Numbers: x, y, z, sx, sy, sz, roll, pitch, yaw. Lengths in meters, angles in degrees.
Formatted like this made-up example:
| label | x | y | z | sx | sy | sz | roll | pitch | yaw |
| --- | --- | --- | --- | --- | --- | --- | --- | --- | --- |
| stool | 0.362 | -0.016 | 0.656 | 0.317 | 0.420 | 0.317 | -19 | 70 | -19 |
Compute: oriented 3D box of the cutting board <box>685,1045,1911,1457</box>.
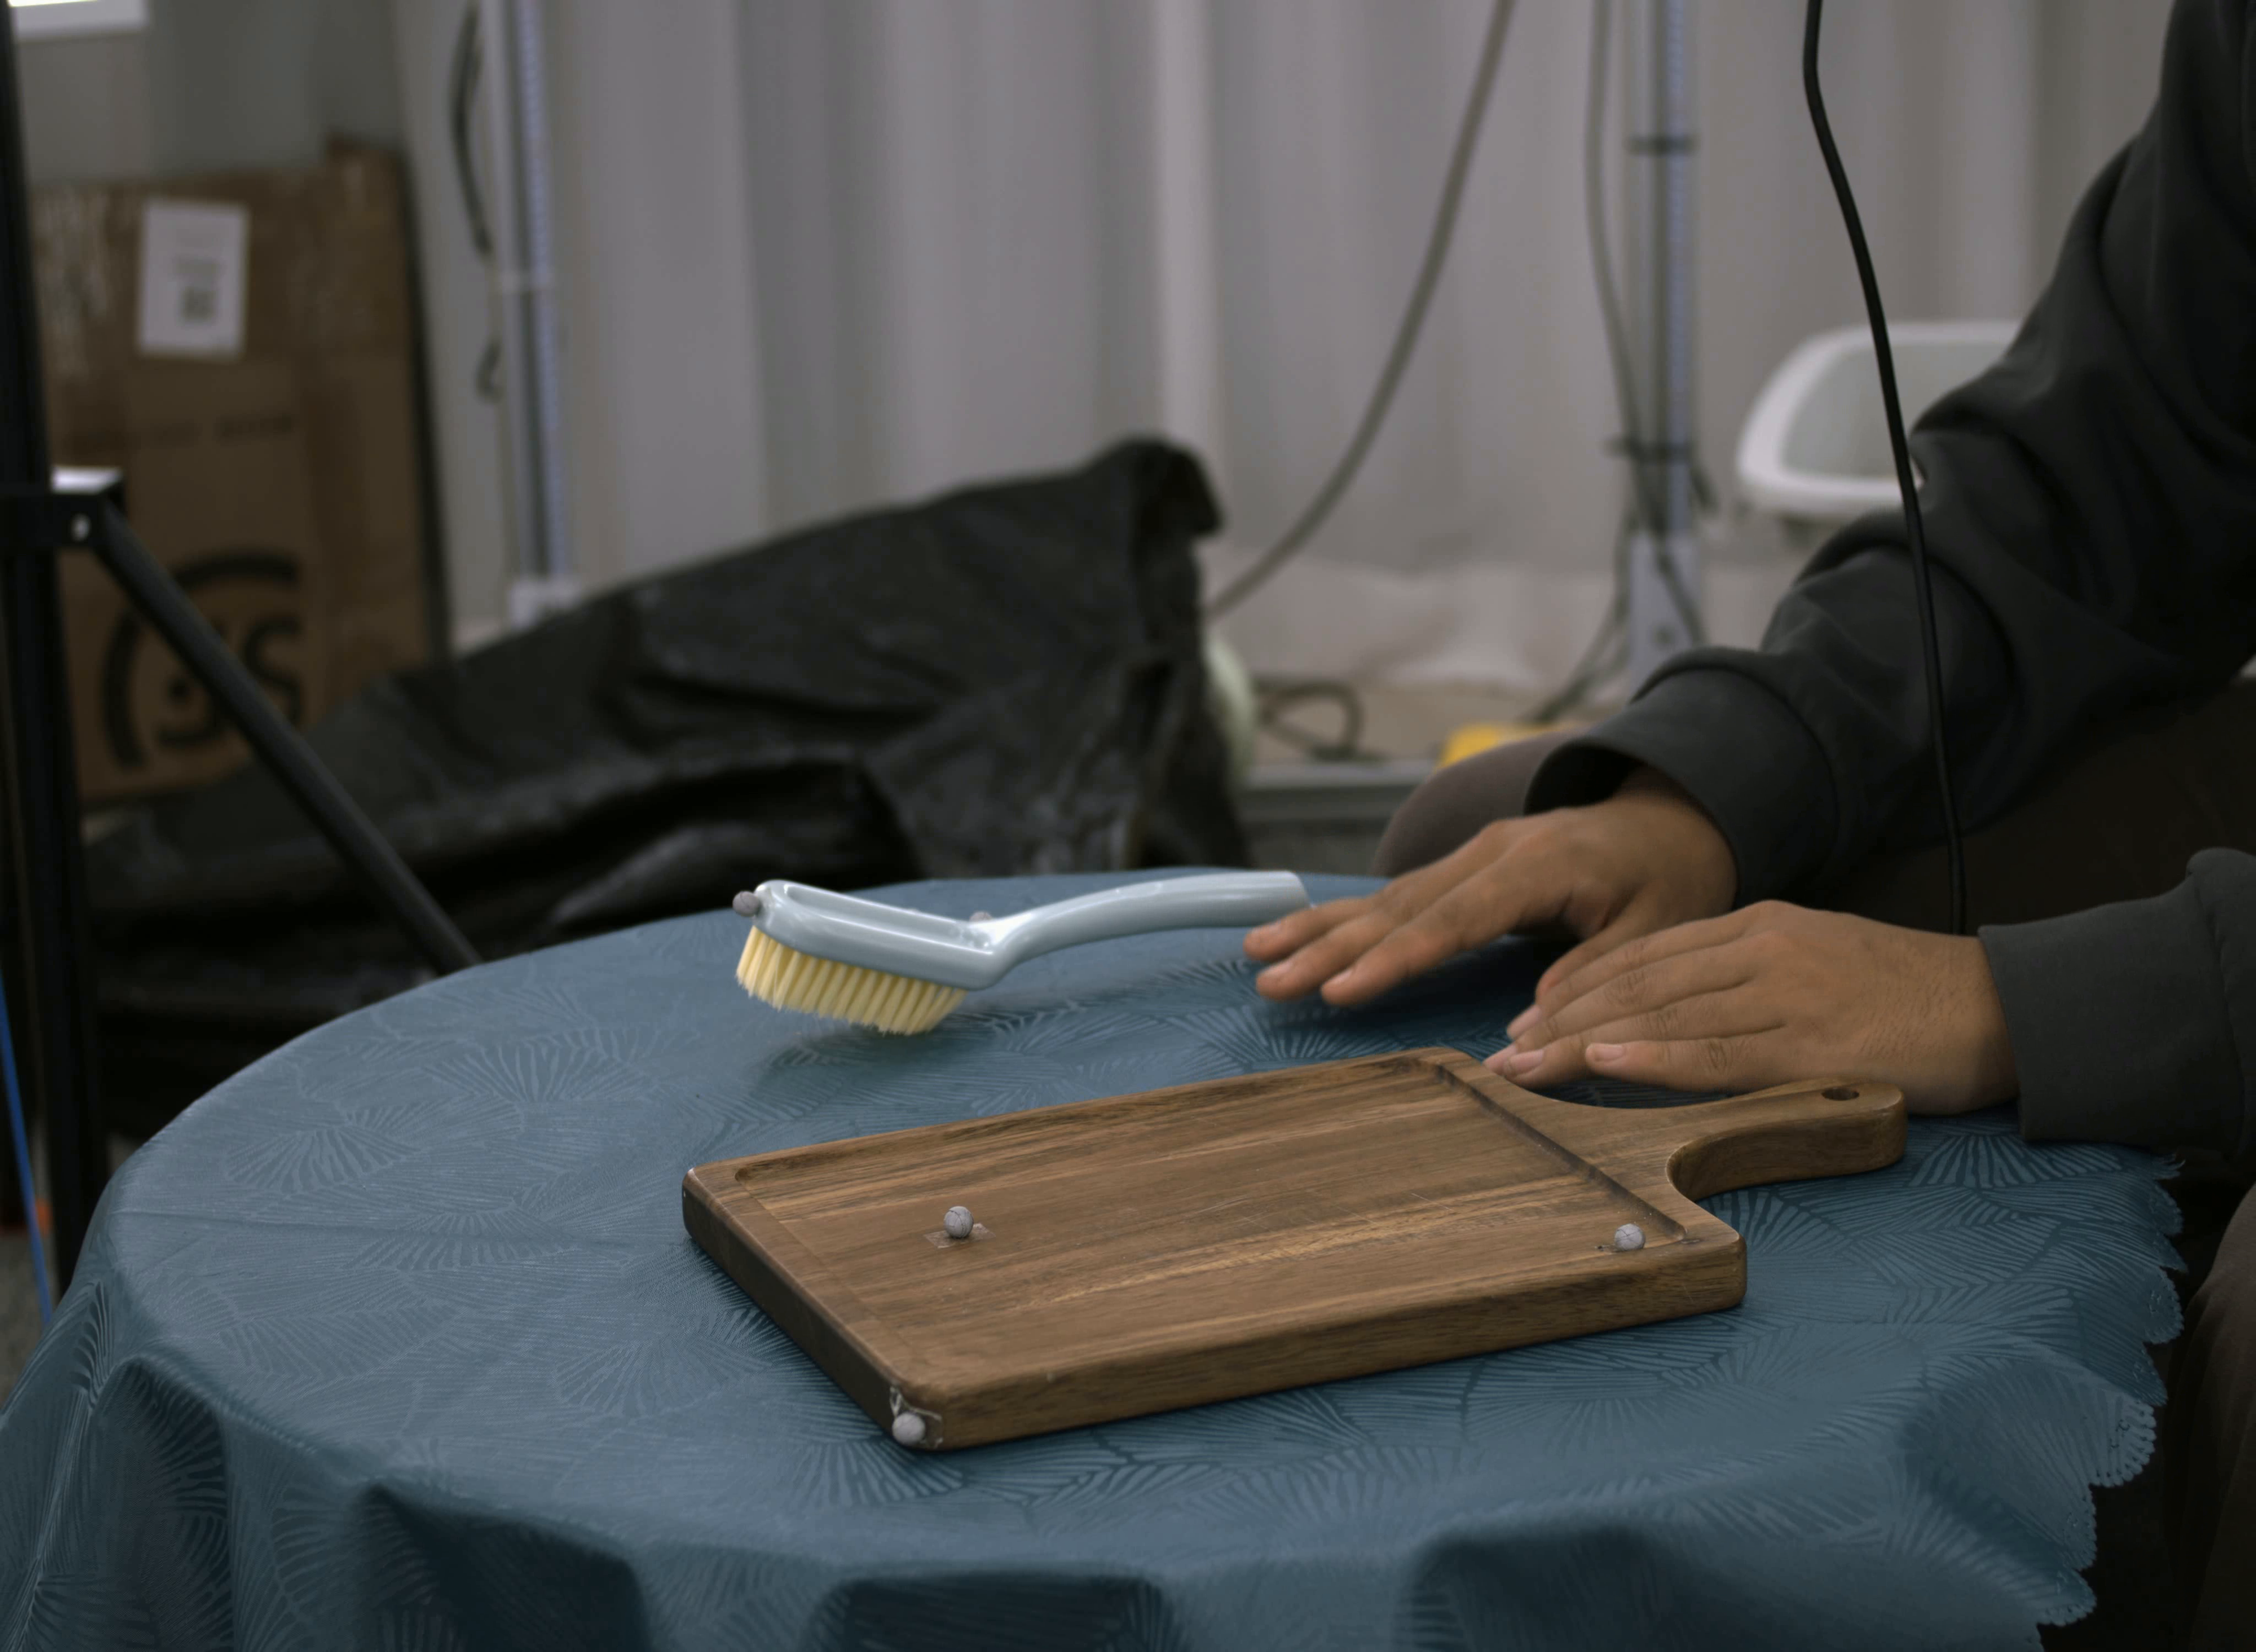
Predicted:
| label | x | y | z | sx | sy | sz | roll | pitch | yaw |
| --- | --- | --- | --- | --- | --- | --- | --- | --- | --- |
| cutting board | 0.068 | 0.109 | 1.506 | 0.346 | 0.023 | 0.205 | -8 | 17 | -19 |

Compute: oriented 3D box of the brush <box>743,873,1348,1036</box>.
| label | x | y | z | sx | sy | sz | roll | pitch | yaw |
| --- | --- | --- | --- | --- | --- | --- | --- | --- | --- |
| brush | -0.025 | 0.041 | 1.740 | 0.223 | 0.050 | 0.038 | -3 | 26 | -32 |
